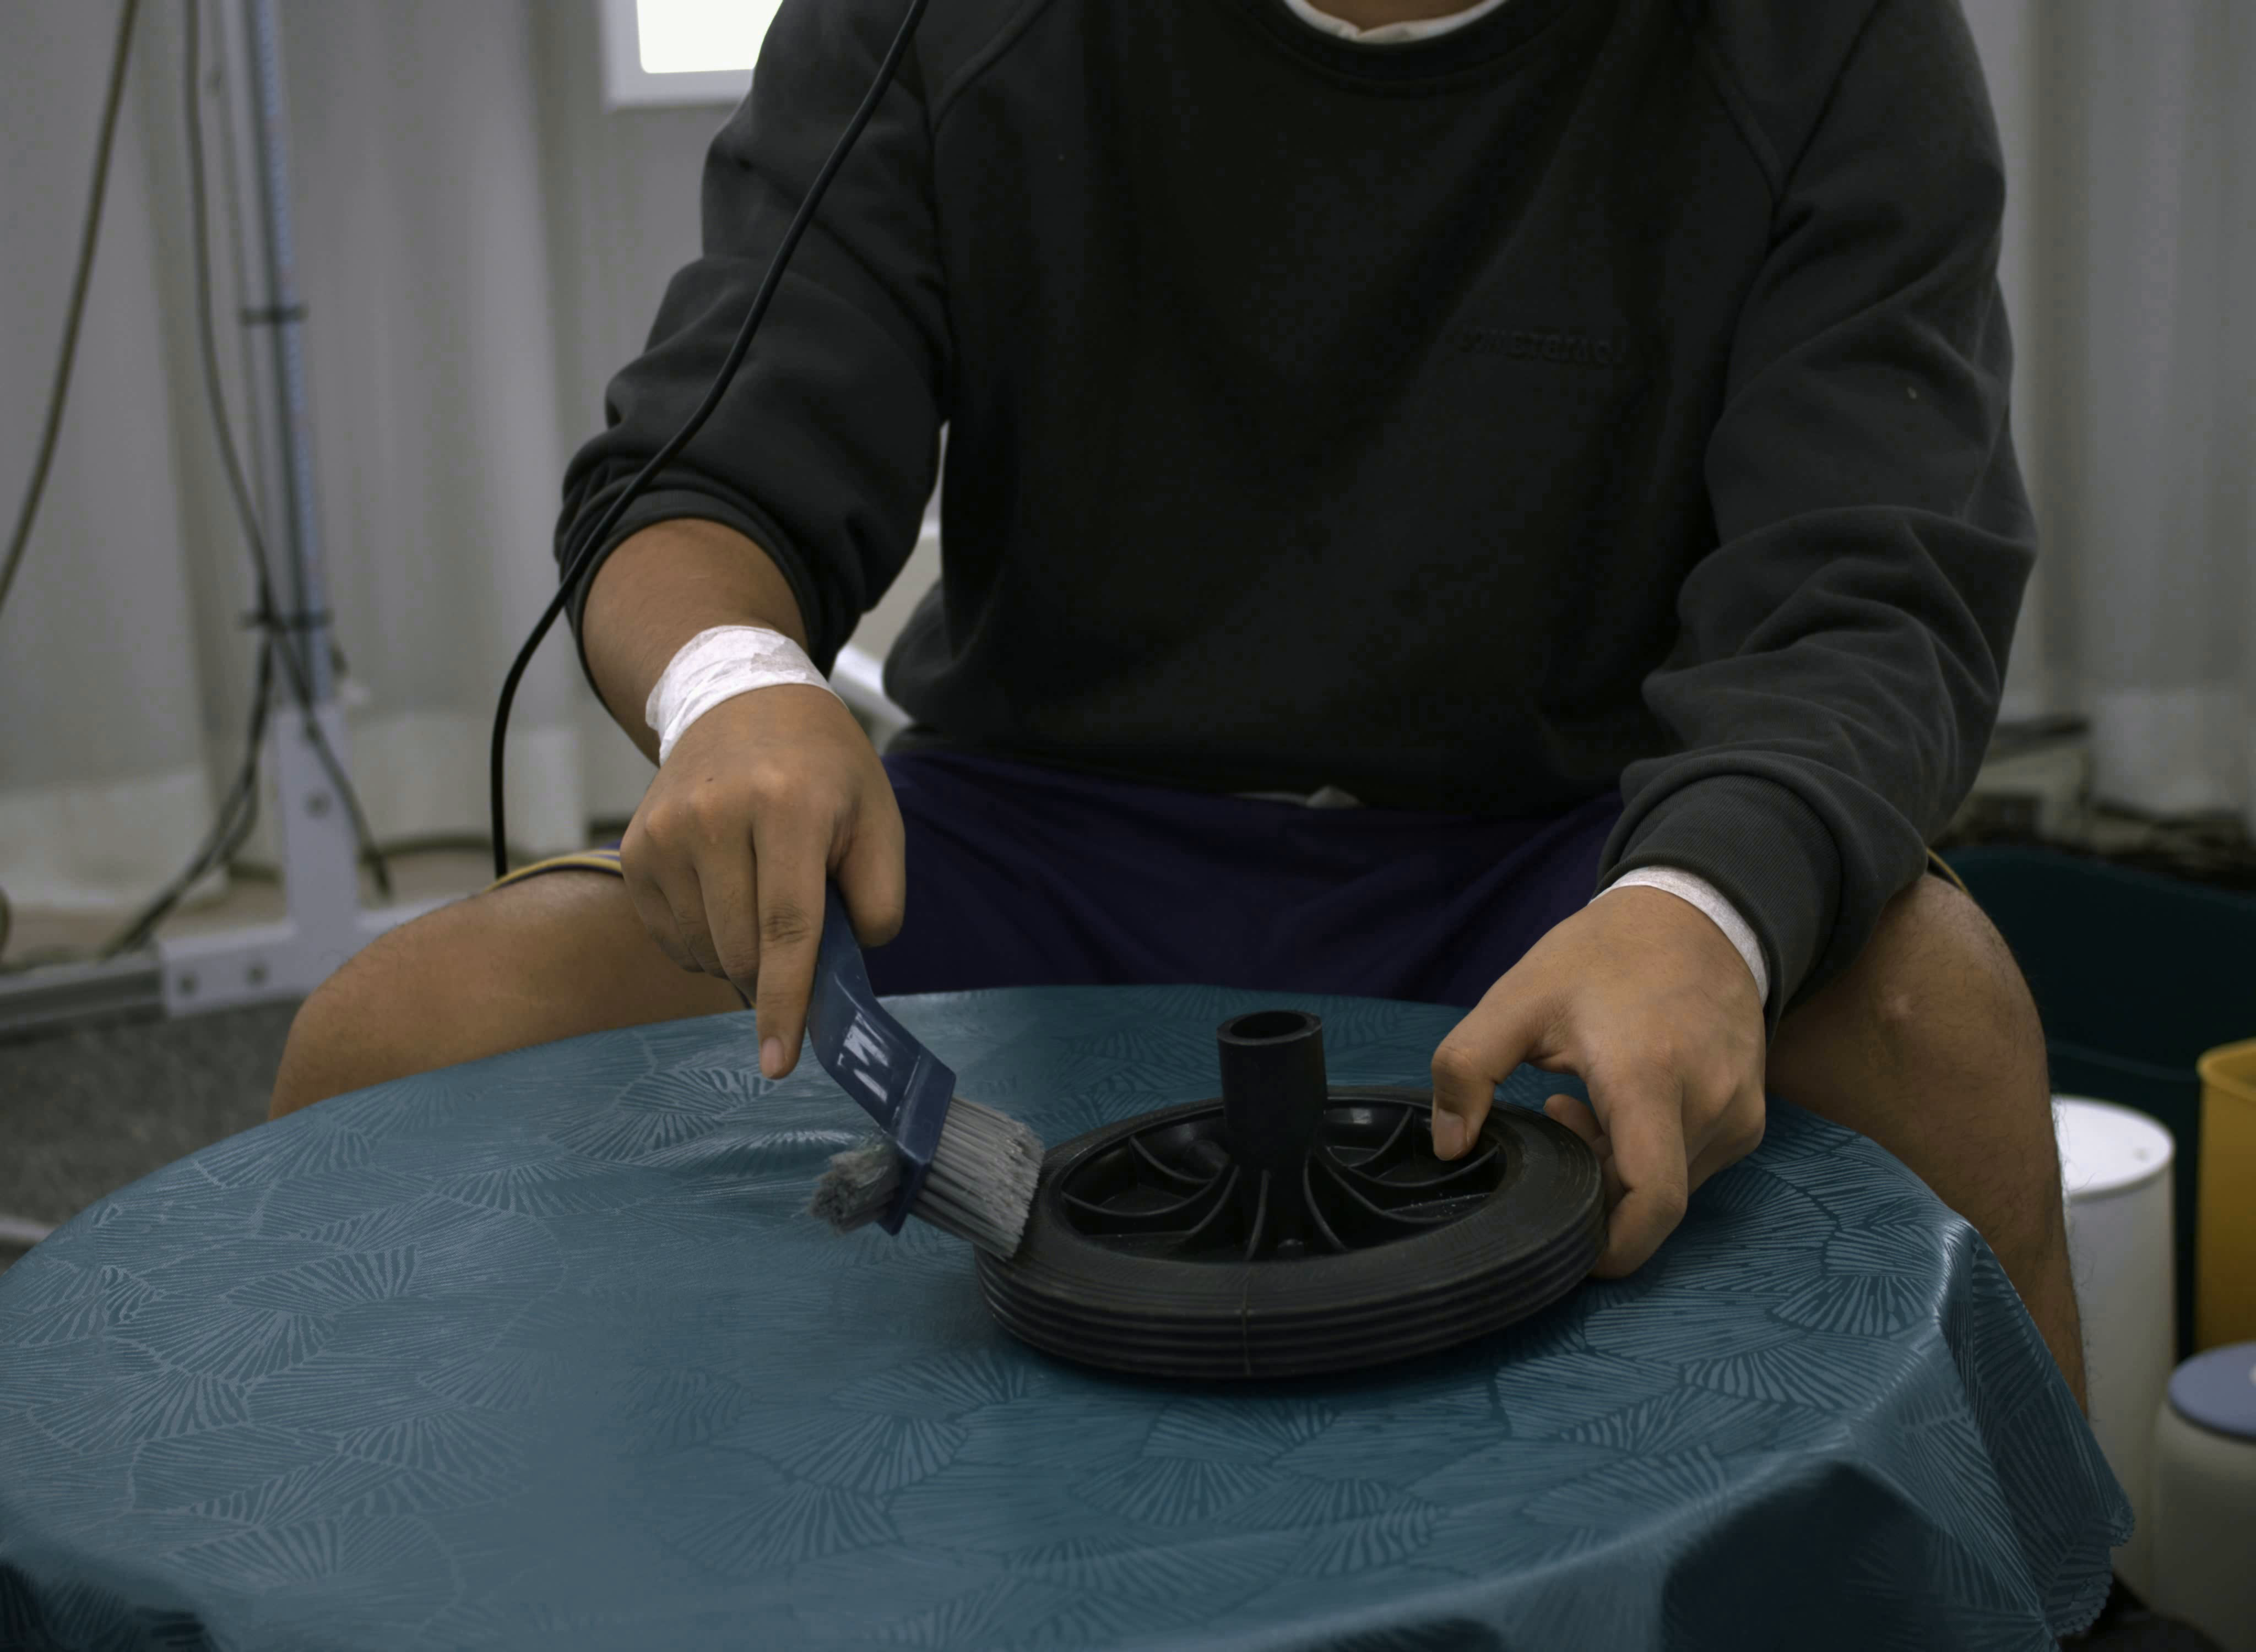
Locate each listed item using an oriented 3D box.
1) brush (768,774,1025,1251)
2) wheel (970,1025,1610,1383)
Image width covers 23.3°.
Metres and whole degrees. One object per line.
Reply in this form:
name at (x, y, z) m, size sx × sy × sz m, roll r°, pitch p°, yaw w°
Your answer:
brush at (-0.094, 0.052, 1.686) m, size 0.095 × 0.033 × 0.277 m, roll 13°, pitch 22°, yaw -25°
wheel at (0.045, 0.100, 1.611) m, size 0.191 × 0.079 × 0.187 m, roll 9°, pitch 23°, yaw 44°
